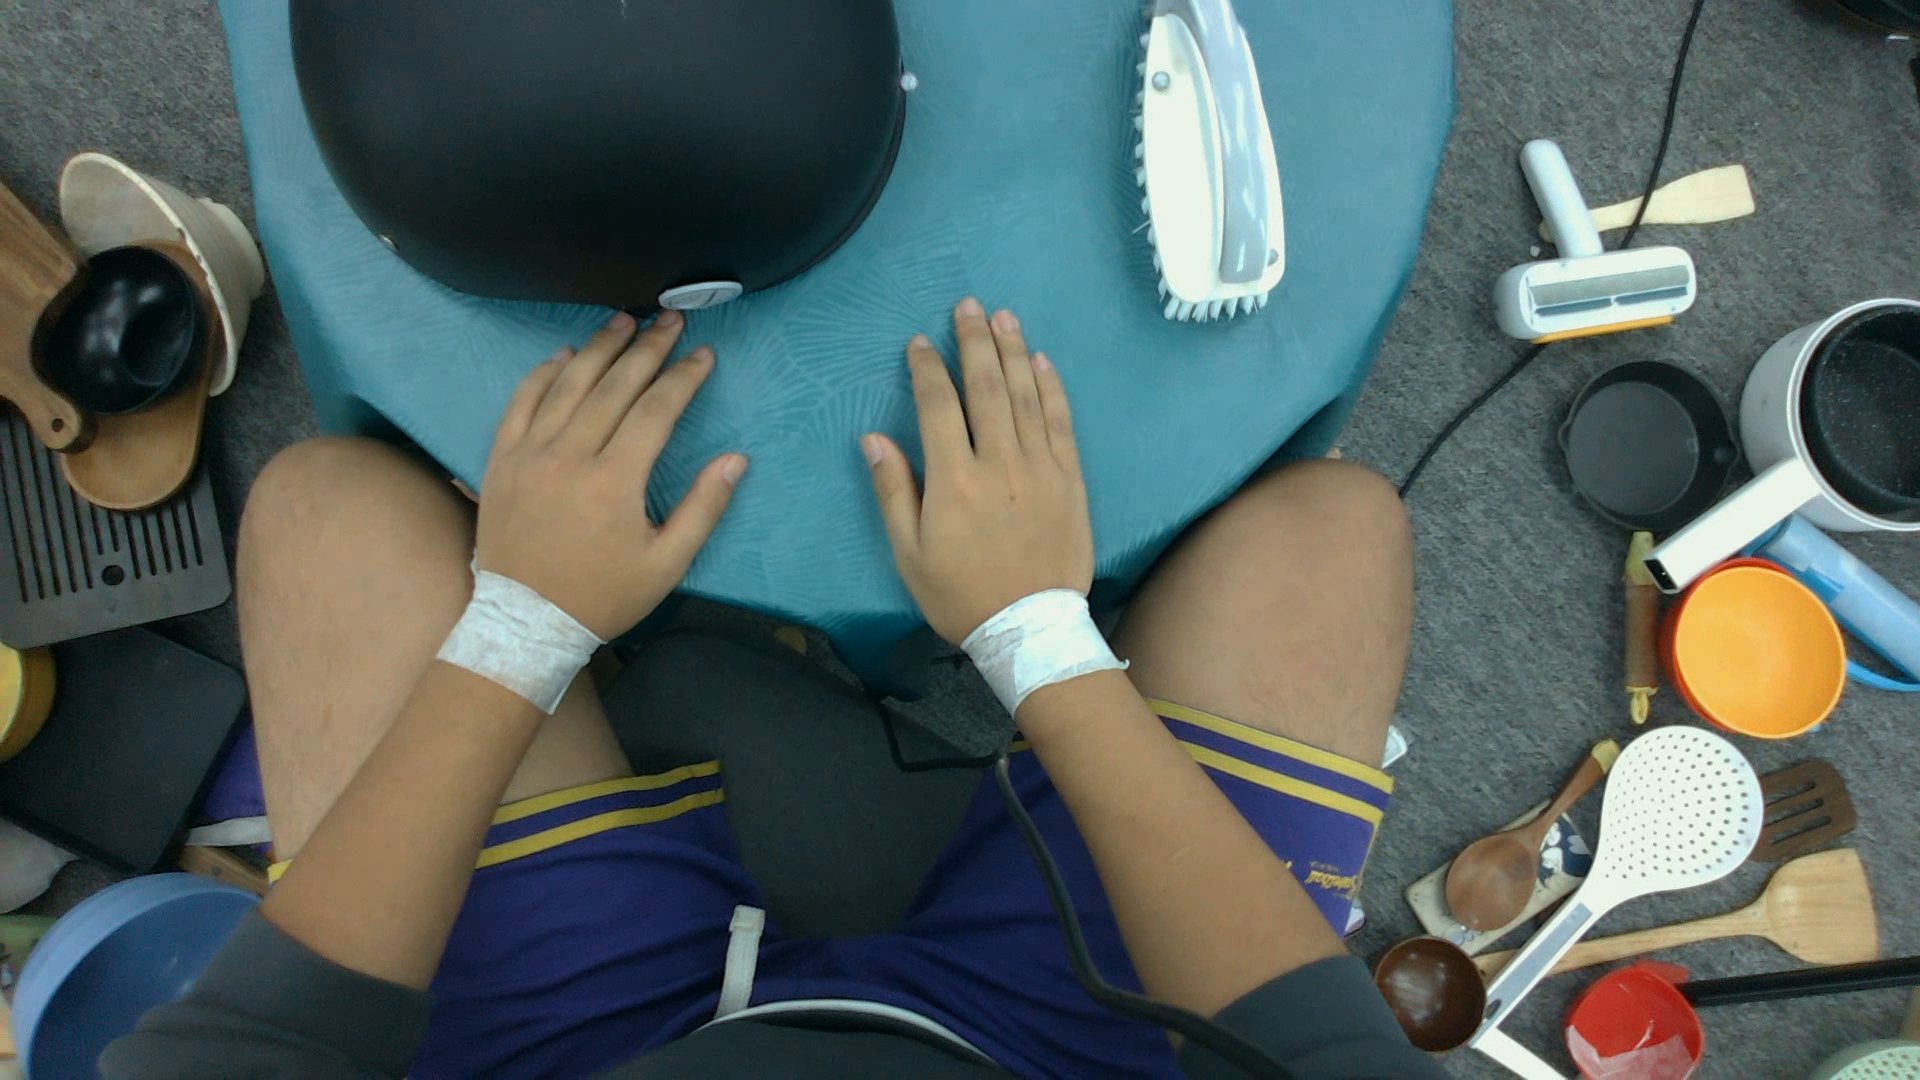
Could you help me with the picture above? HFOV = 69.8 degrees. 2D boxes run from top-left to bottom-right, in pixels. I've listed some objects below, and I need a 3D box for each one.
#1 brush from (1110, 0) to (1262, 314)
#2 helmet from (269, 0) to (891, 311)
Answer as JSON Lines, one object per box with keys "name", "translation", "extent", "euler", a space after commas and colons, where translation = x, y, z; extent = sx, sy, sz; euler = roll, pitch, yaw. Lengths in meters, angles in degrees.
{"name": "brush", "translation": [0.106, -0.201, 0.642], "extent": [0.061, 0.094, 0.175], "euler": [-7, 85, -7]}
{"name": "helmet", "translation": [-0.161, -0.221, 0.585], "extent": [0.273, 0.166, 0.230], "euler": [1, 87, -7]}
